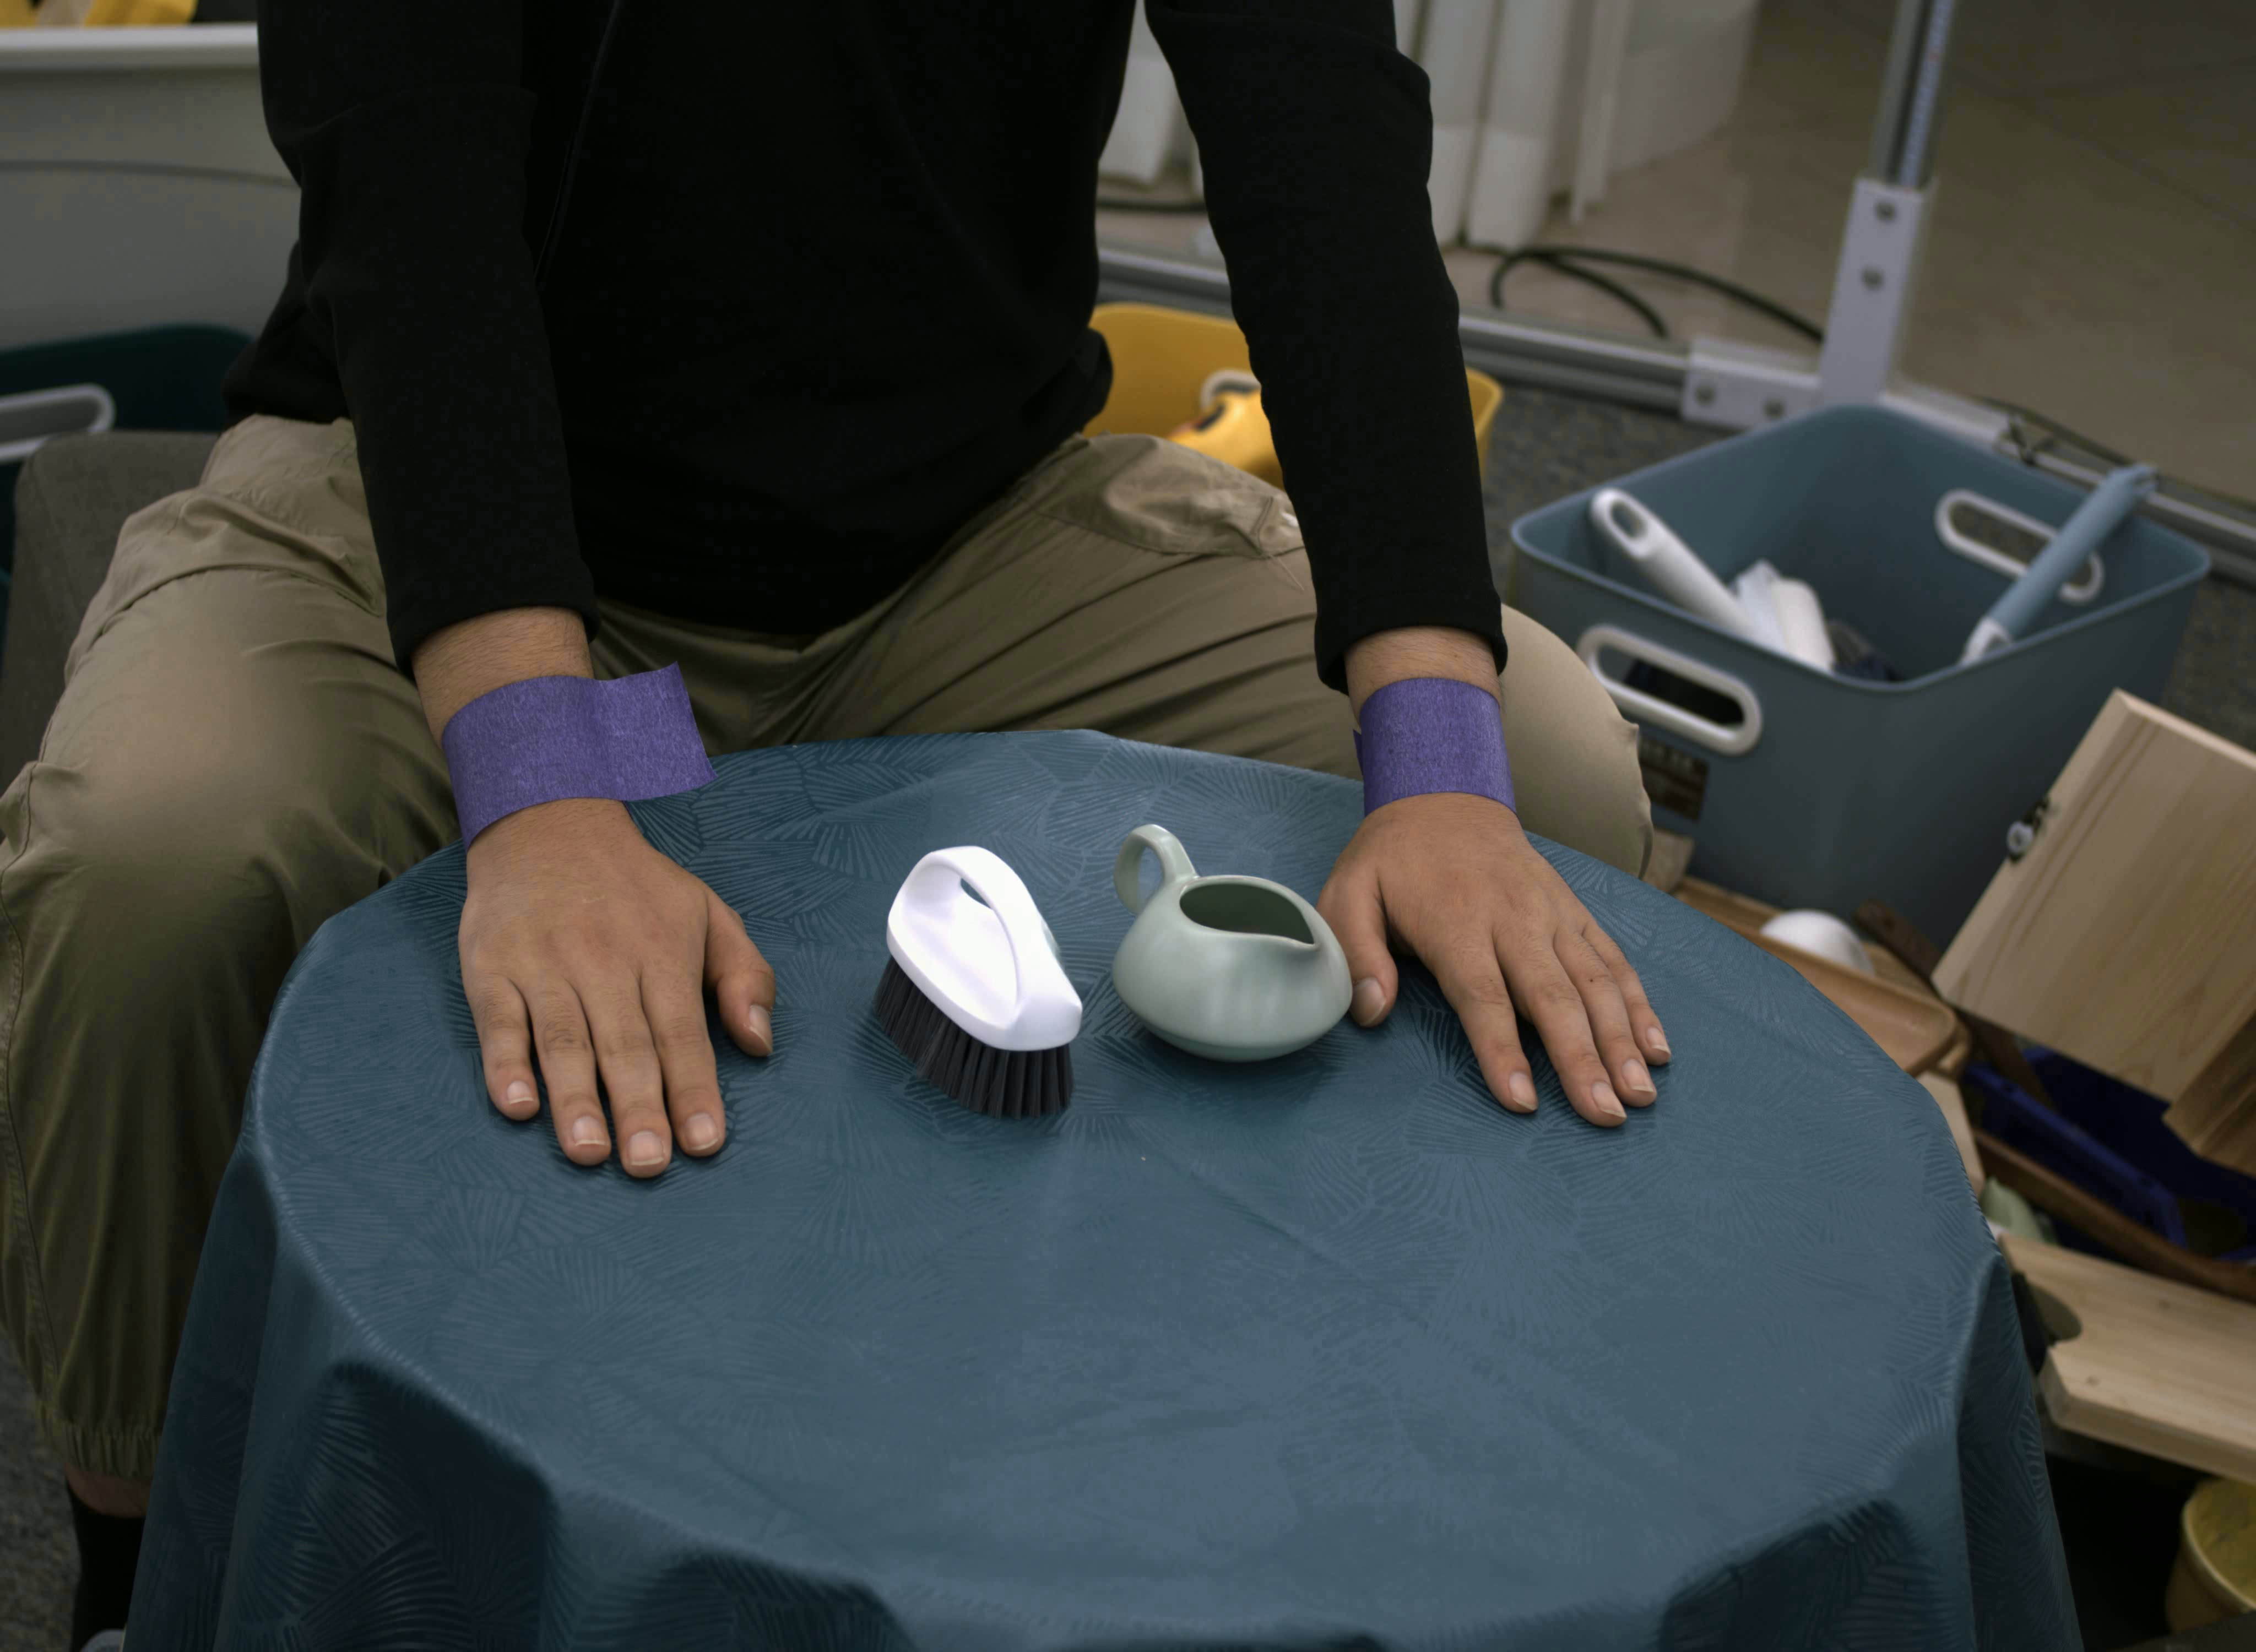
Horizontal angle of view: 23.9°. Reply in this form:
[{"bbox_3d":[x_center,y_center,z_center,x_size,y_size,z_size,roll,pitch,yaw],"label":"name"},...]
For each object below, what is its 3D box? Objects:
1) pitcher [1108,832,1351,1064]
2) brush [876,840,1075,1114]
[{"bbox_3d":[0.030,0.044,1.903,0.085,0.060,0.109,-17,32,-39],"label":"pitcher"},{"bbox_3d":[-0.052,0.046,1.859,0.050,0.072,0.100,-5,30,-26],"label":"brush"}]
